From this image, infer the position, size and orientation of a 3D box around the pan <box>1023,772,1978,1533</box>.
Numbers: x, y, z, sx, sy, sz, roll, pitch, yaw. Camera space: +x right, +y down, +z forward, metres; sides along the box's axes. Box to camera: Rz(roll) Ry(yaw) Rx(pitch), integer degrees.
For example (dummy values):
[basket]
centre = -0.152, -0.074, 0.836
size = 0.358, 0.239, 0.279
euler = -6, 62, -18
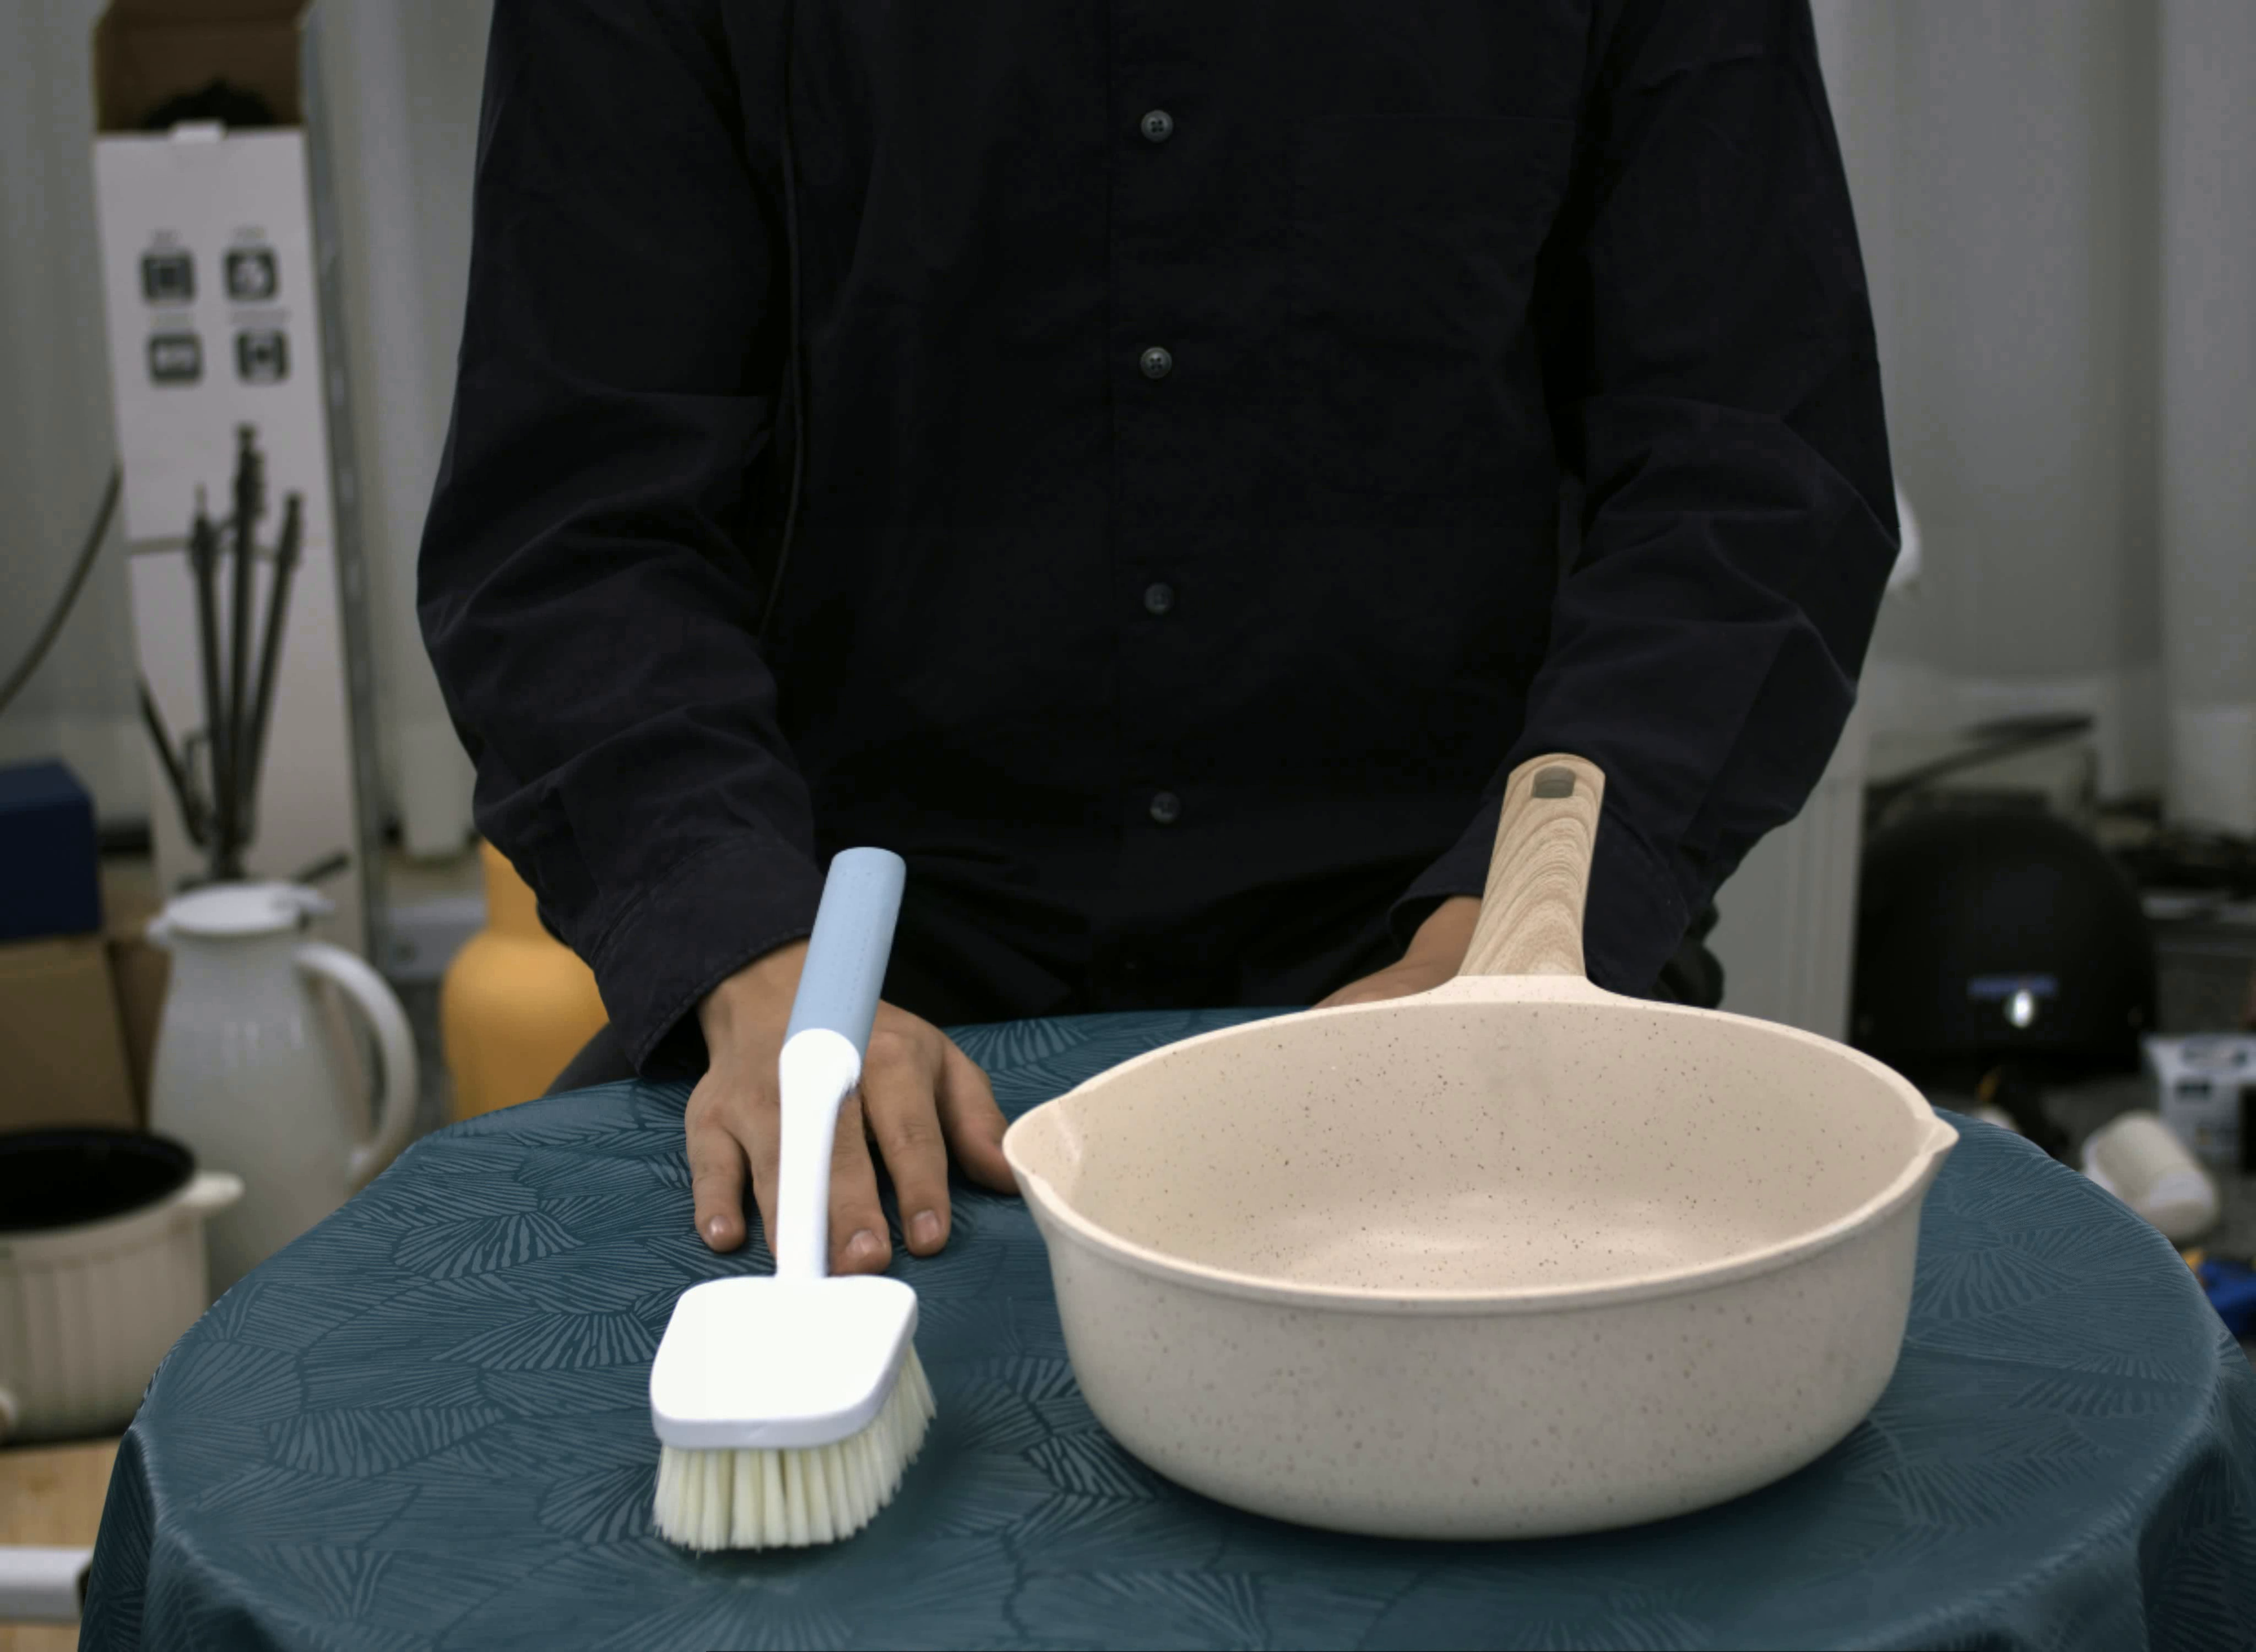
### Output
[pan]
centre = 0.115, 0.090, 1.599
size = 0.263, 0.101, 0.437
euler = -1, 15, 8

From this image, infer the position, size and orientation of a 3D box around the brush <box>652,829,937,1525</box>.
[brush]
centre = -0.083, 0.112, 1.582
size = 0.082, 0.084, 0.329
euler = 32, 25, -11
